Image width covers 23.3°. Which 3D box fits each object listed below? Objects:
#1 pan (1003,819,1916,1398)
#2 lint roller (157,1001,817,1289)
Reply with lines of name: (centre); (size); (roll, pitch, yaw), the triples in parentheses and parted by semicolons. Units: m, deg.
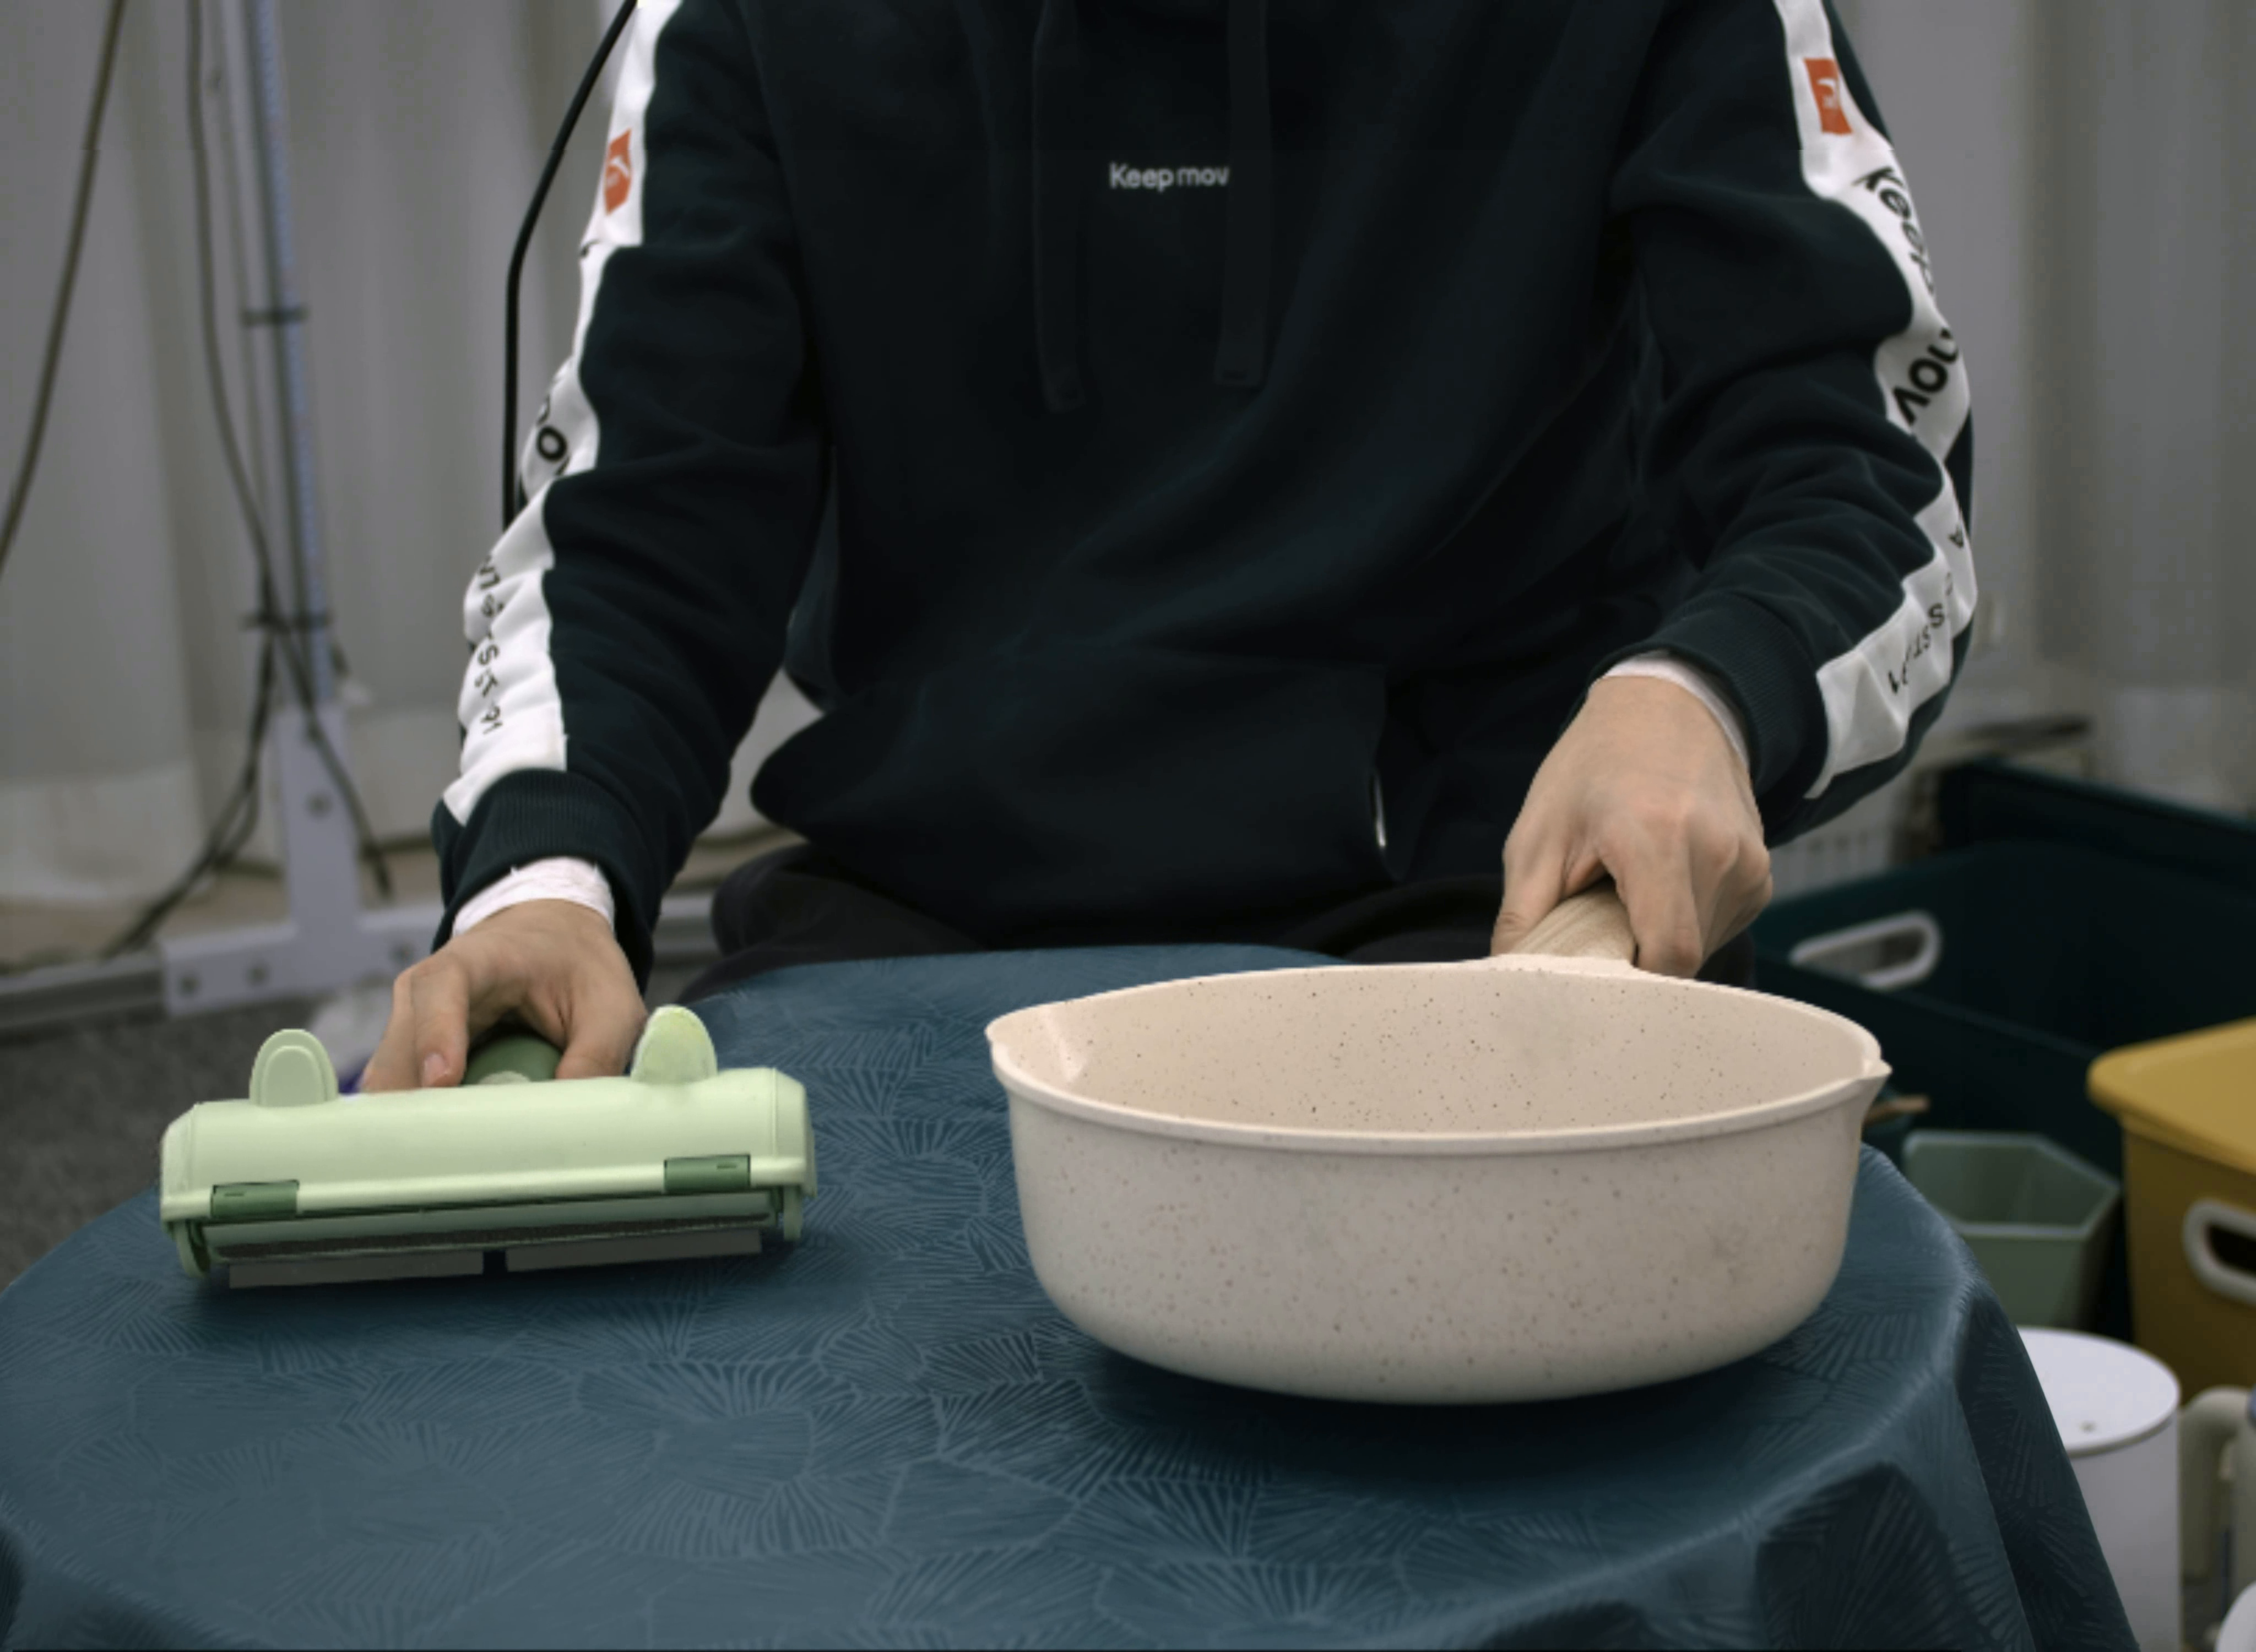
pan: (0.122, 0.080, 1.632); (0.263, 0.102, 0.435); (1, 9, 19)
lint roller: (-0.197, 0.079, 1.716); (0.198, 0.081, 0.185); (-4, 22, -1)
